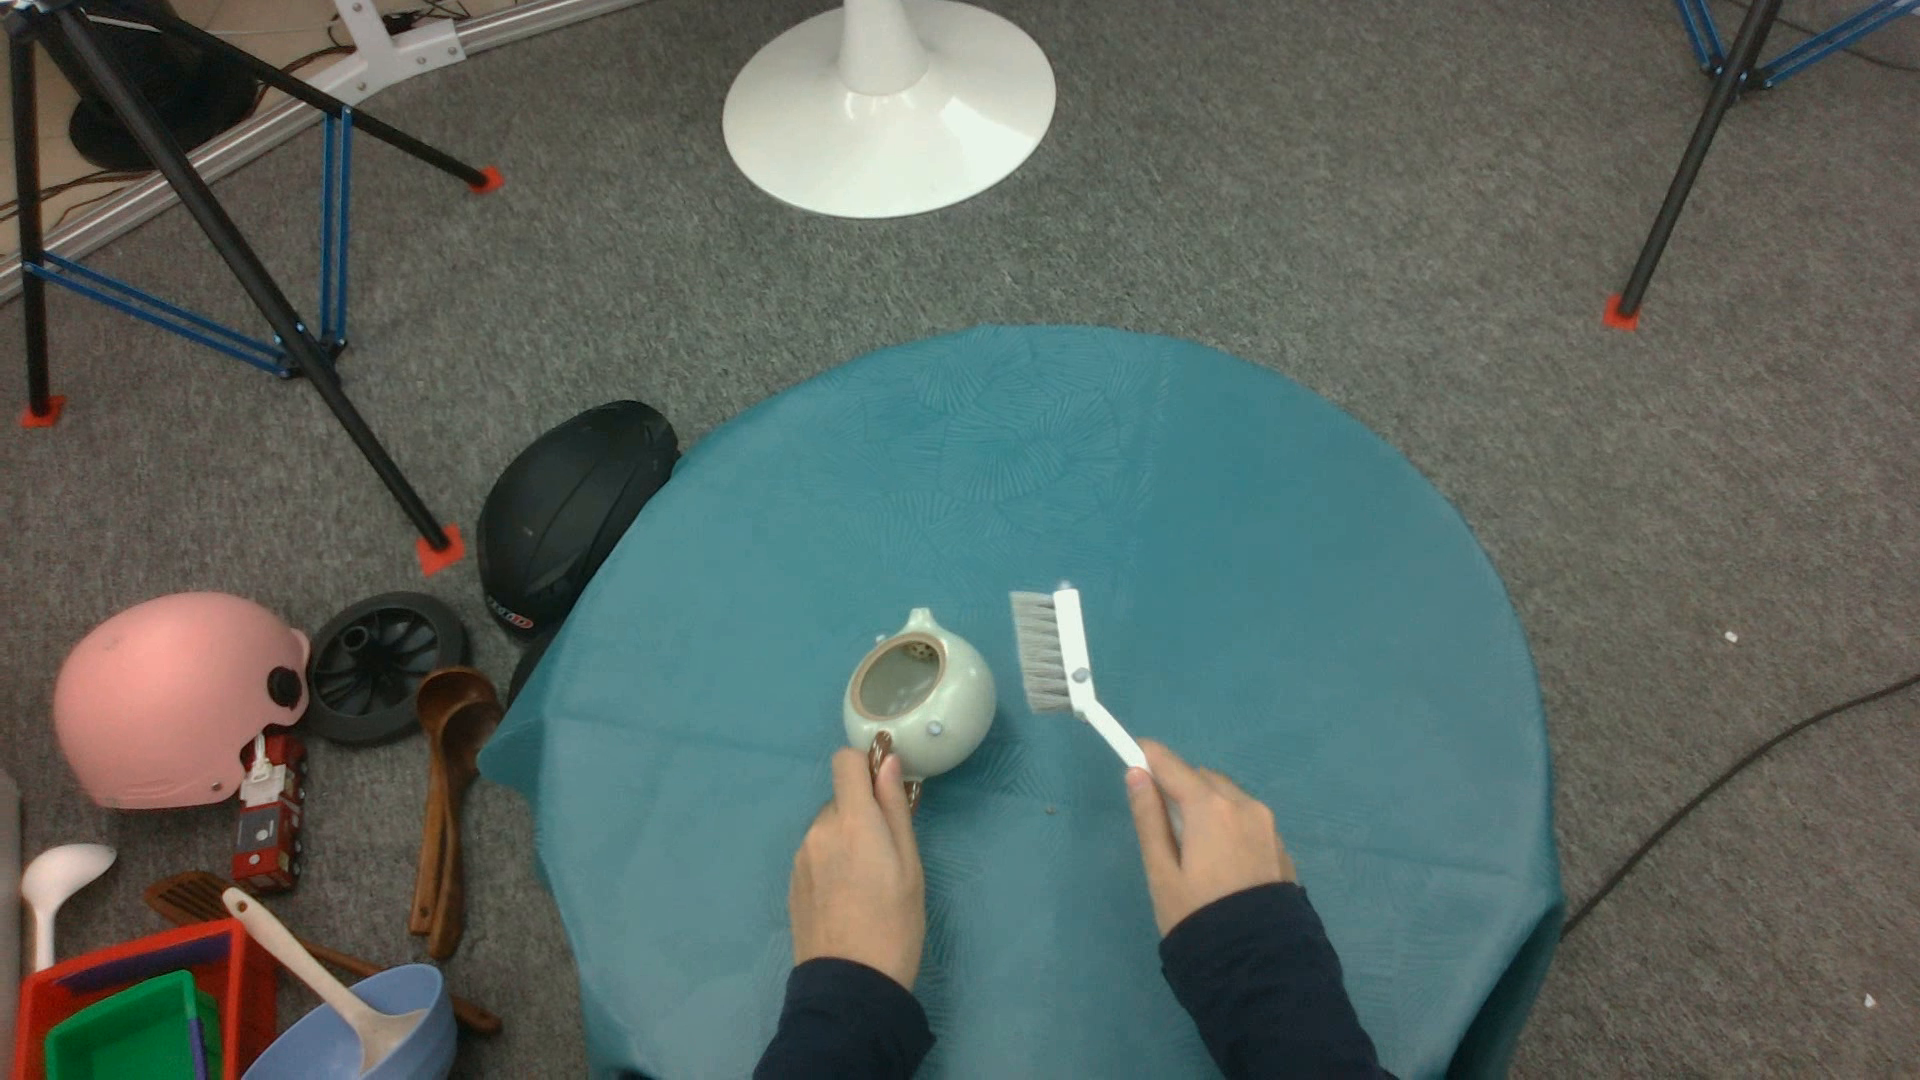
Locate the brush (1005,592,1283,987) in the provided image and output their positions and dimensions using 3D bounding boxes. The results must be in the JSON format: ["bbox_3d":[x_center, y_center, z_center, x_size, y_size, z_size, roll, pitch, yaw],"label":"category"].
[{"bbox_3d":[0.089,0.132,0.731,0.050,0.034,0.244,-28,71,-4],"label":"brush"}]

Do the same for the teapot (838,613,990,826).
[{"bbox_3d":[-0.029,0.106,0.800,0.091,0.059,0.129,-10,44,25],"label":"teapot"}]
